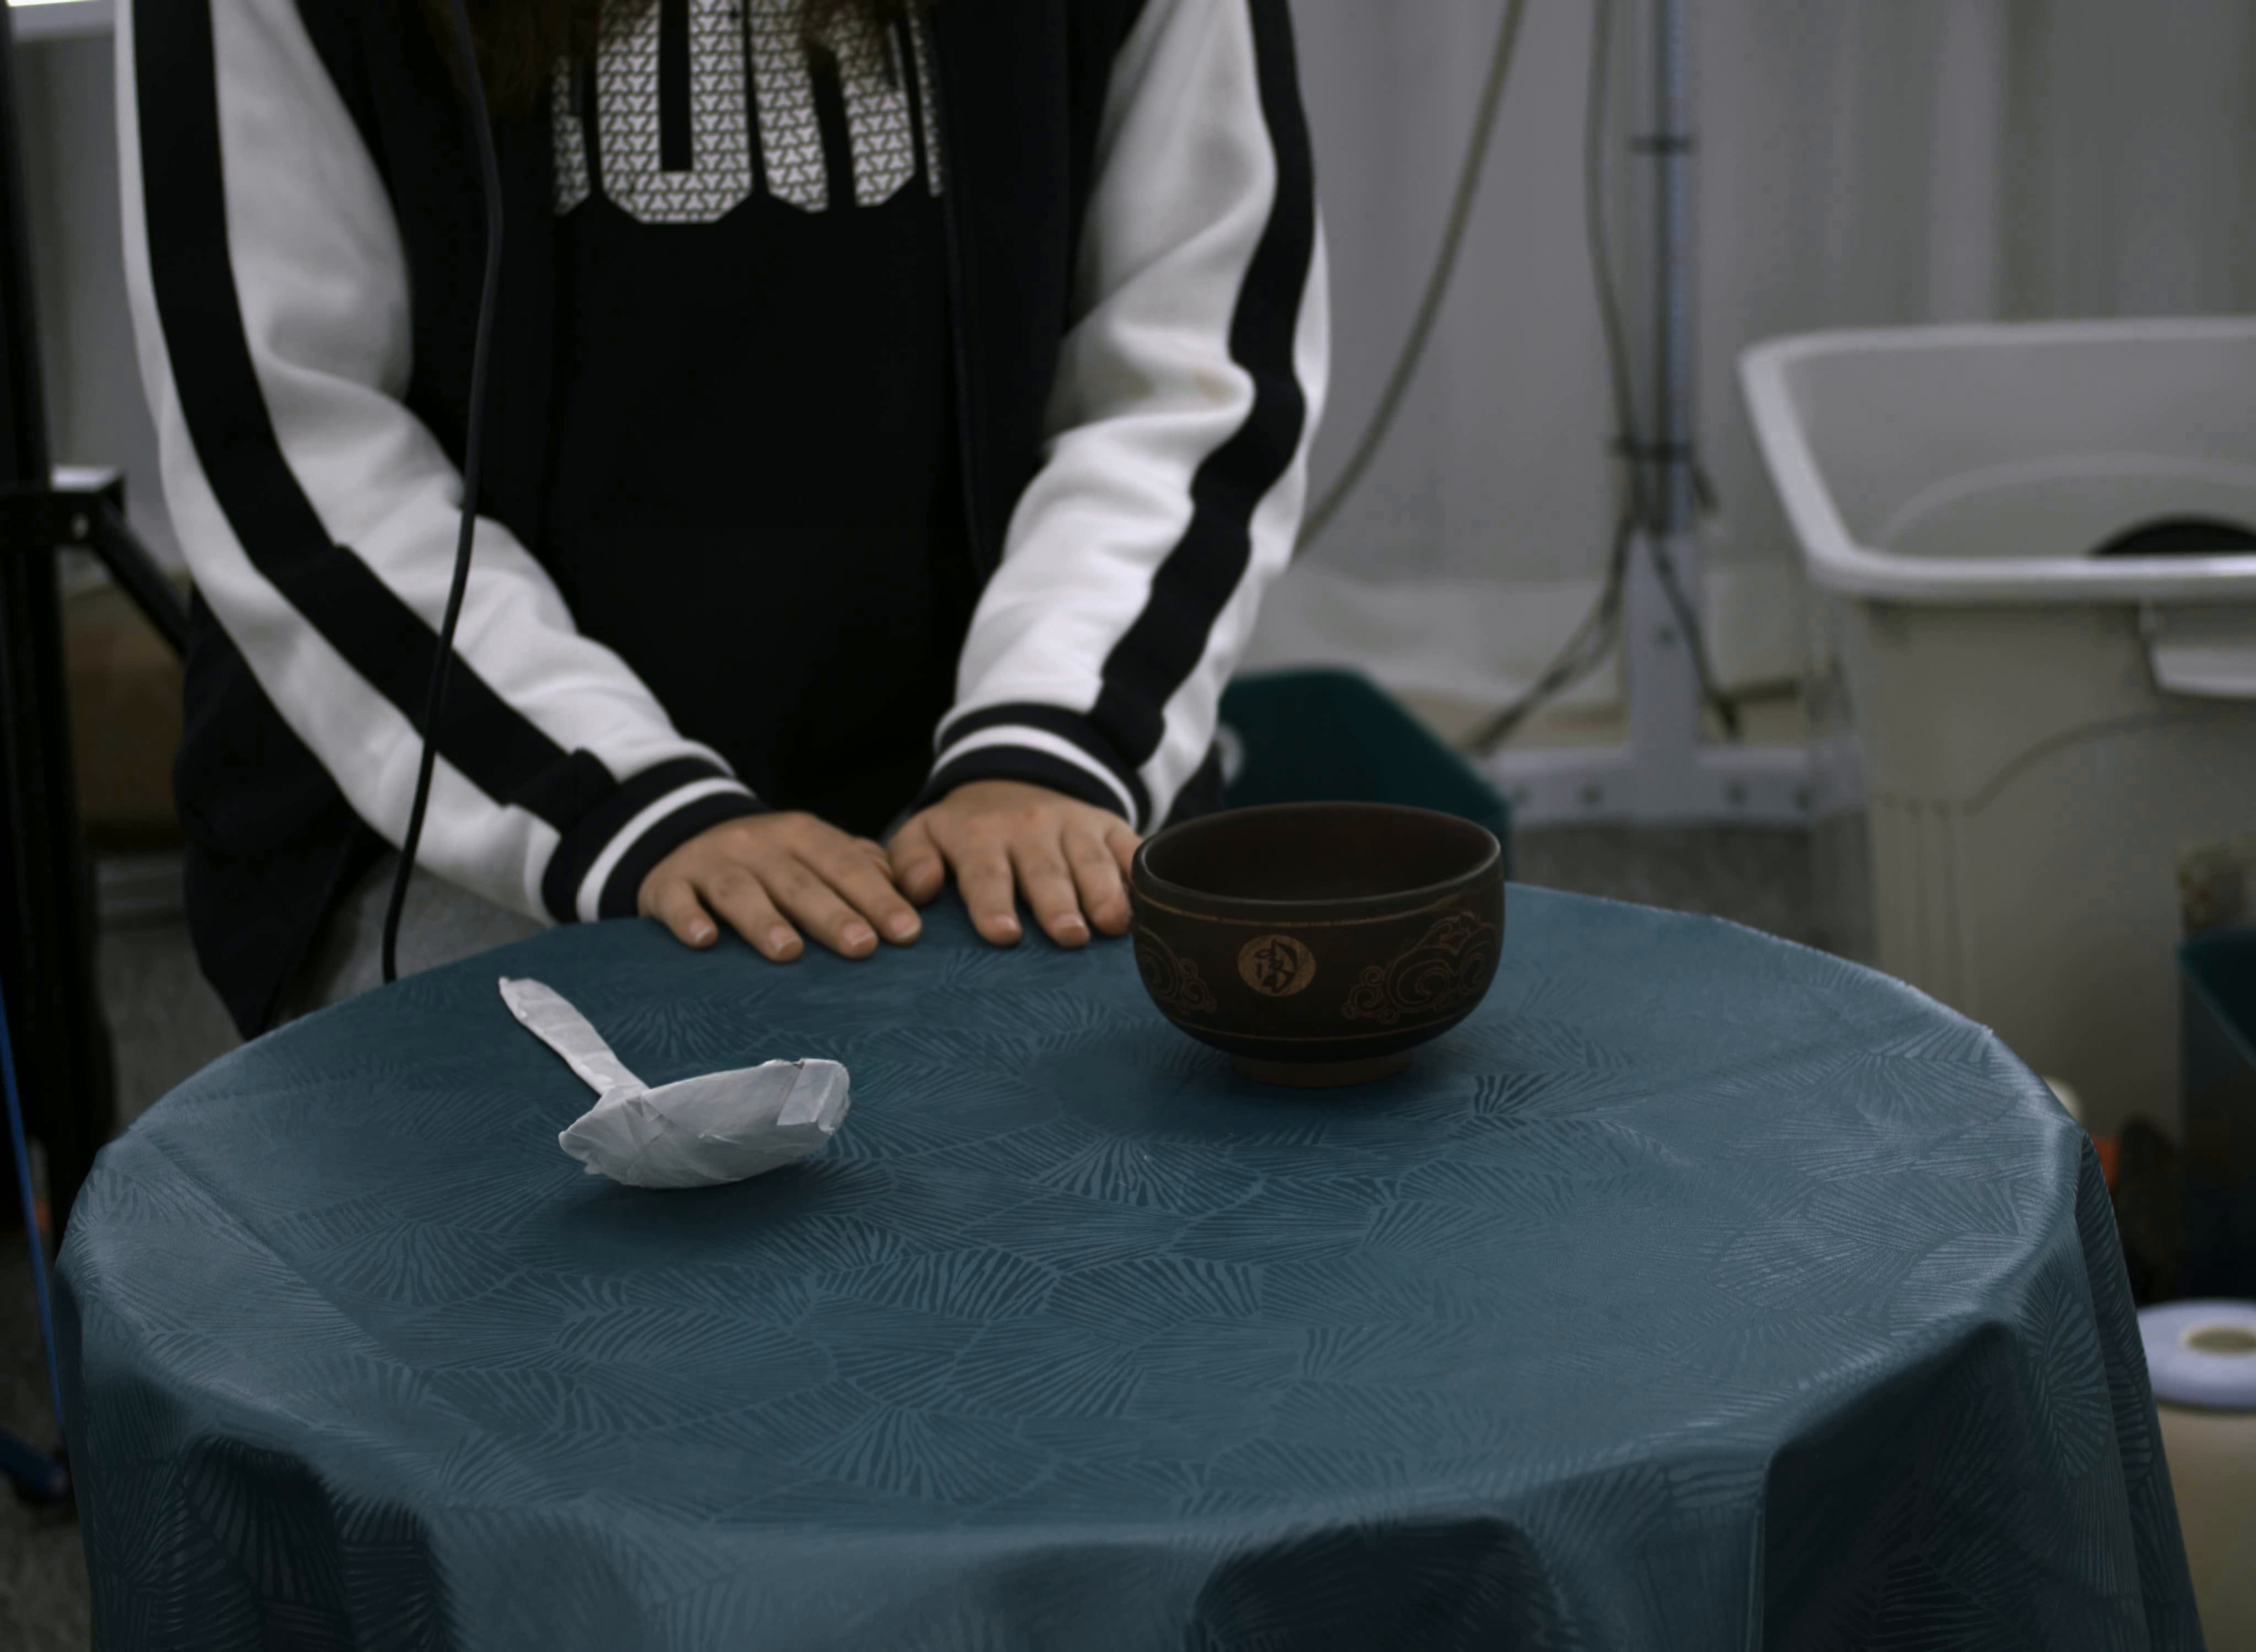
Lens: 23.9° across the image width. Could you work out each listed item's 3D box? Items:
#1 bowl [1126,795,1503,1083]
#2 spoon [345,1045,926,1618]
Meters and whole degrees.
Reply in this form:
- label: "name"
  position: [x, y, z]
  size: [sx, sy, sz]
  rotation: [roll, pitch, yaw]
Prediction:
- label: "bowl"
  position: [0.059, 0.039, 1.658]
  size: [0.117, 0.070, 0.118]
  rotation: [-2, 15, -1]
- label: "spoon"
  position: [-0.160, 0.160, 1.603]
  size: [0.098, 0.279, 0.060]
  rotation: [12, 32, -42]
